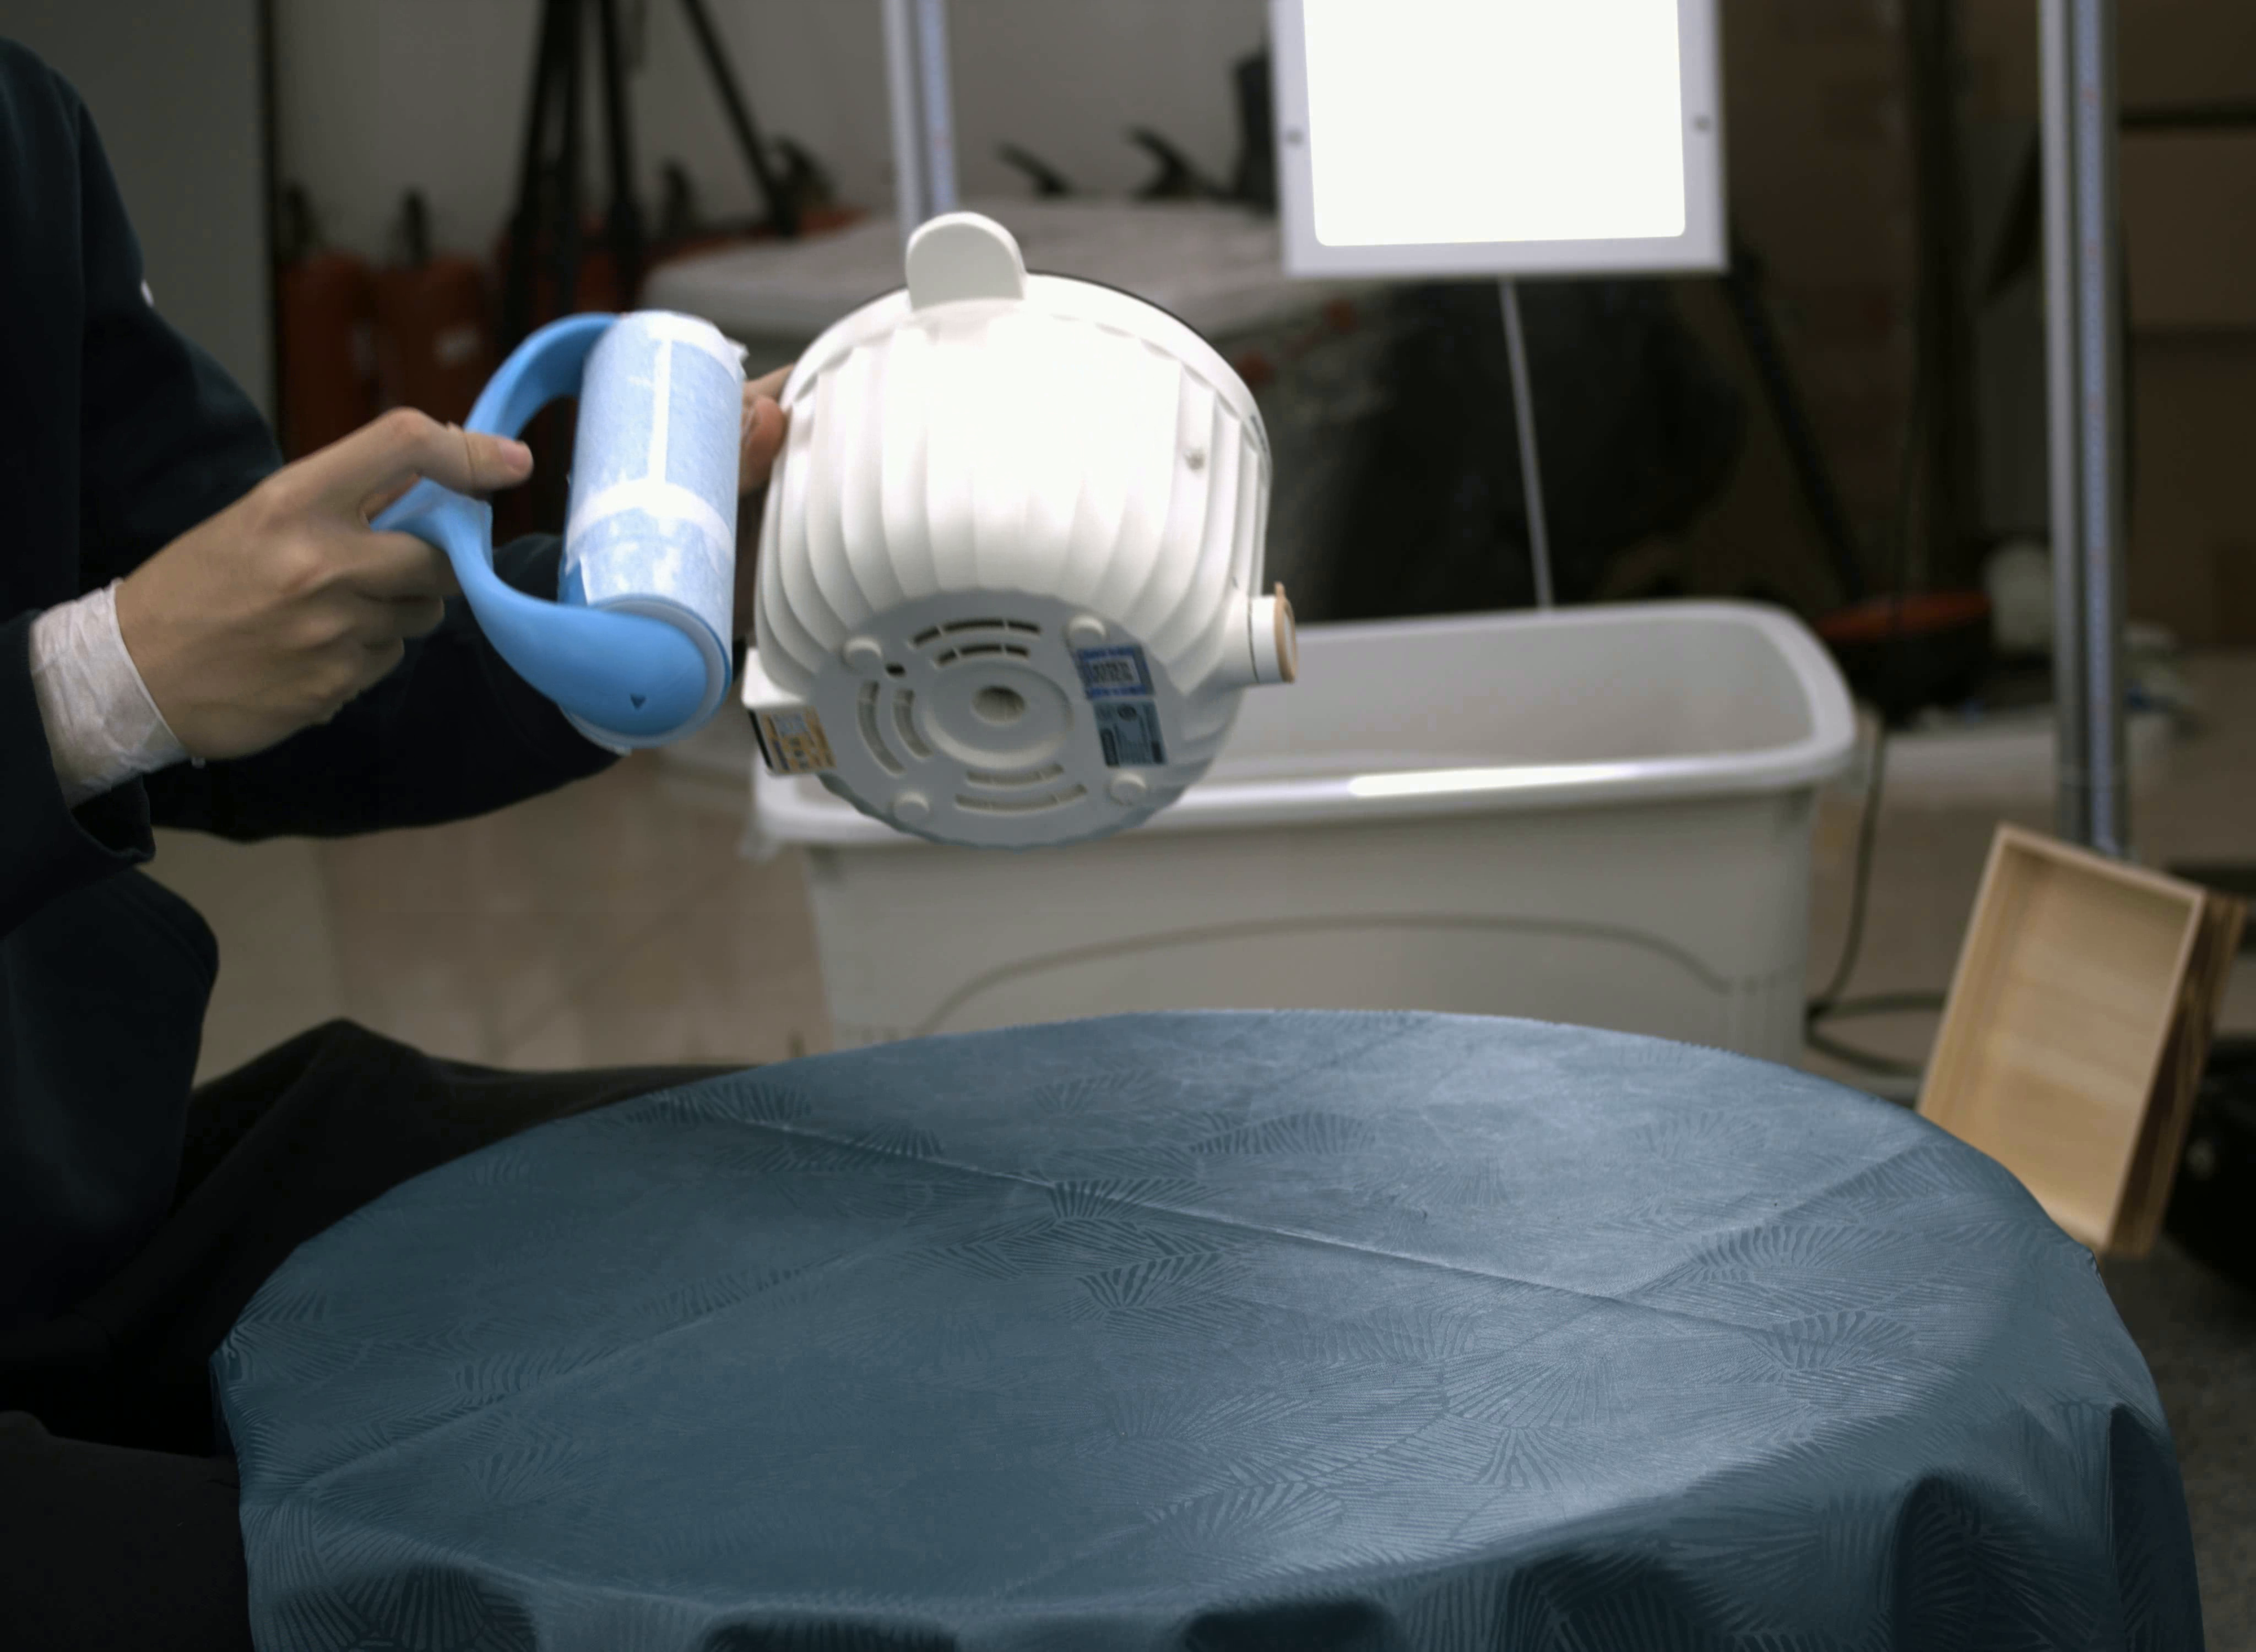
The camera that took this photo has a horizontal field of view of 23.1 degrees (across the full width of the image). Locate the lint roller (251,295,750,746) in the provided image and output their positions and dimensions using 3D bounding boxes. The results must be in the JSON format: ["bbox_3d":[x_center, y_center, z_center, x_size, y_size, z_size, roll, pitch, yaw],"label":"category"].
[{"bbox_3d":[-0.202,-0.081,1.721,0.181,0.067,0.229,-21,32,6],"label":"lint roller"}]

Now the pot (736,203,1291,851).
[{"bbox_3d":[-0.038,-0.086,1.934,0.191,0.240,0.142,-7,46,8],"label":"pot"}]
